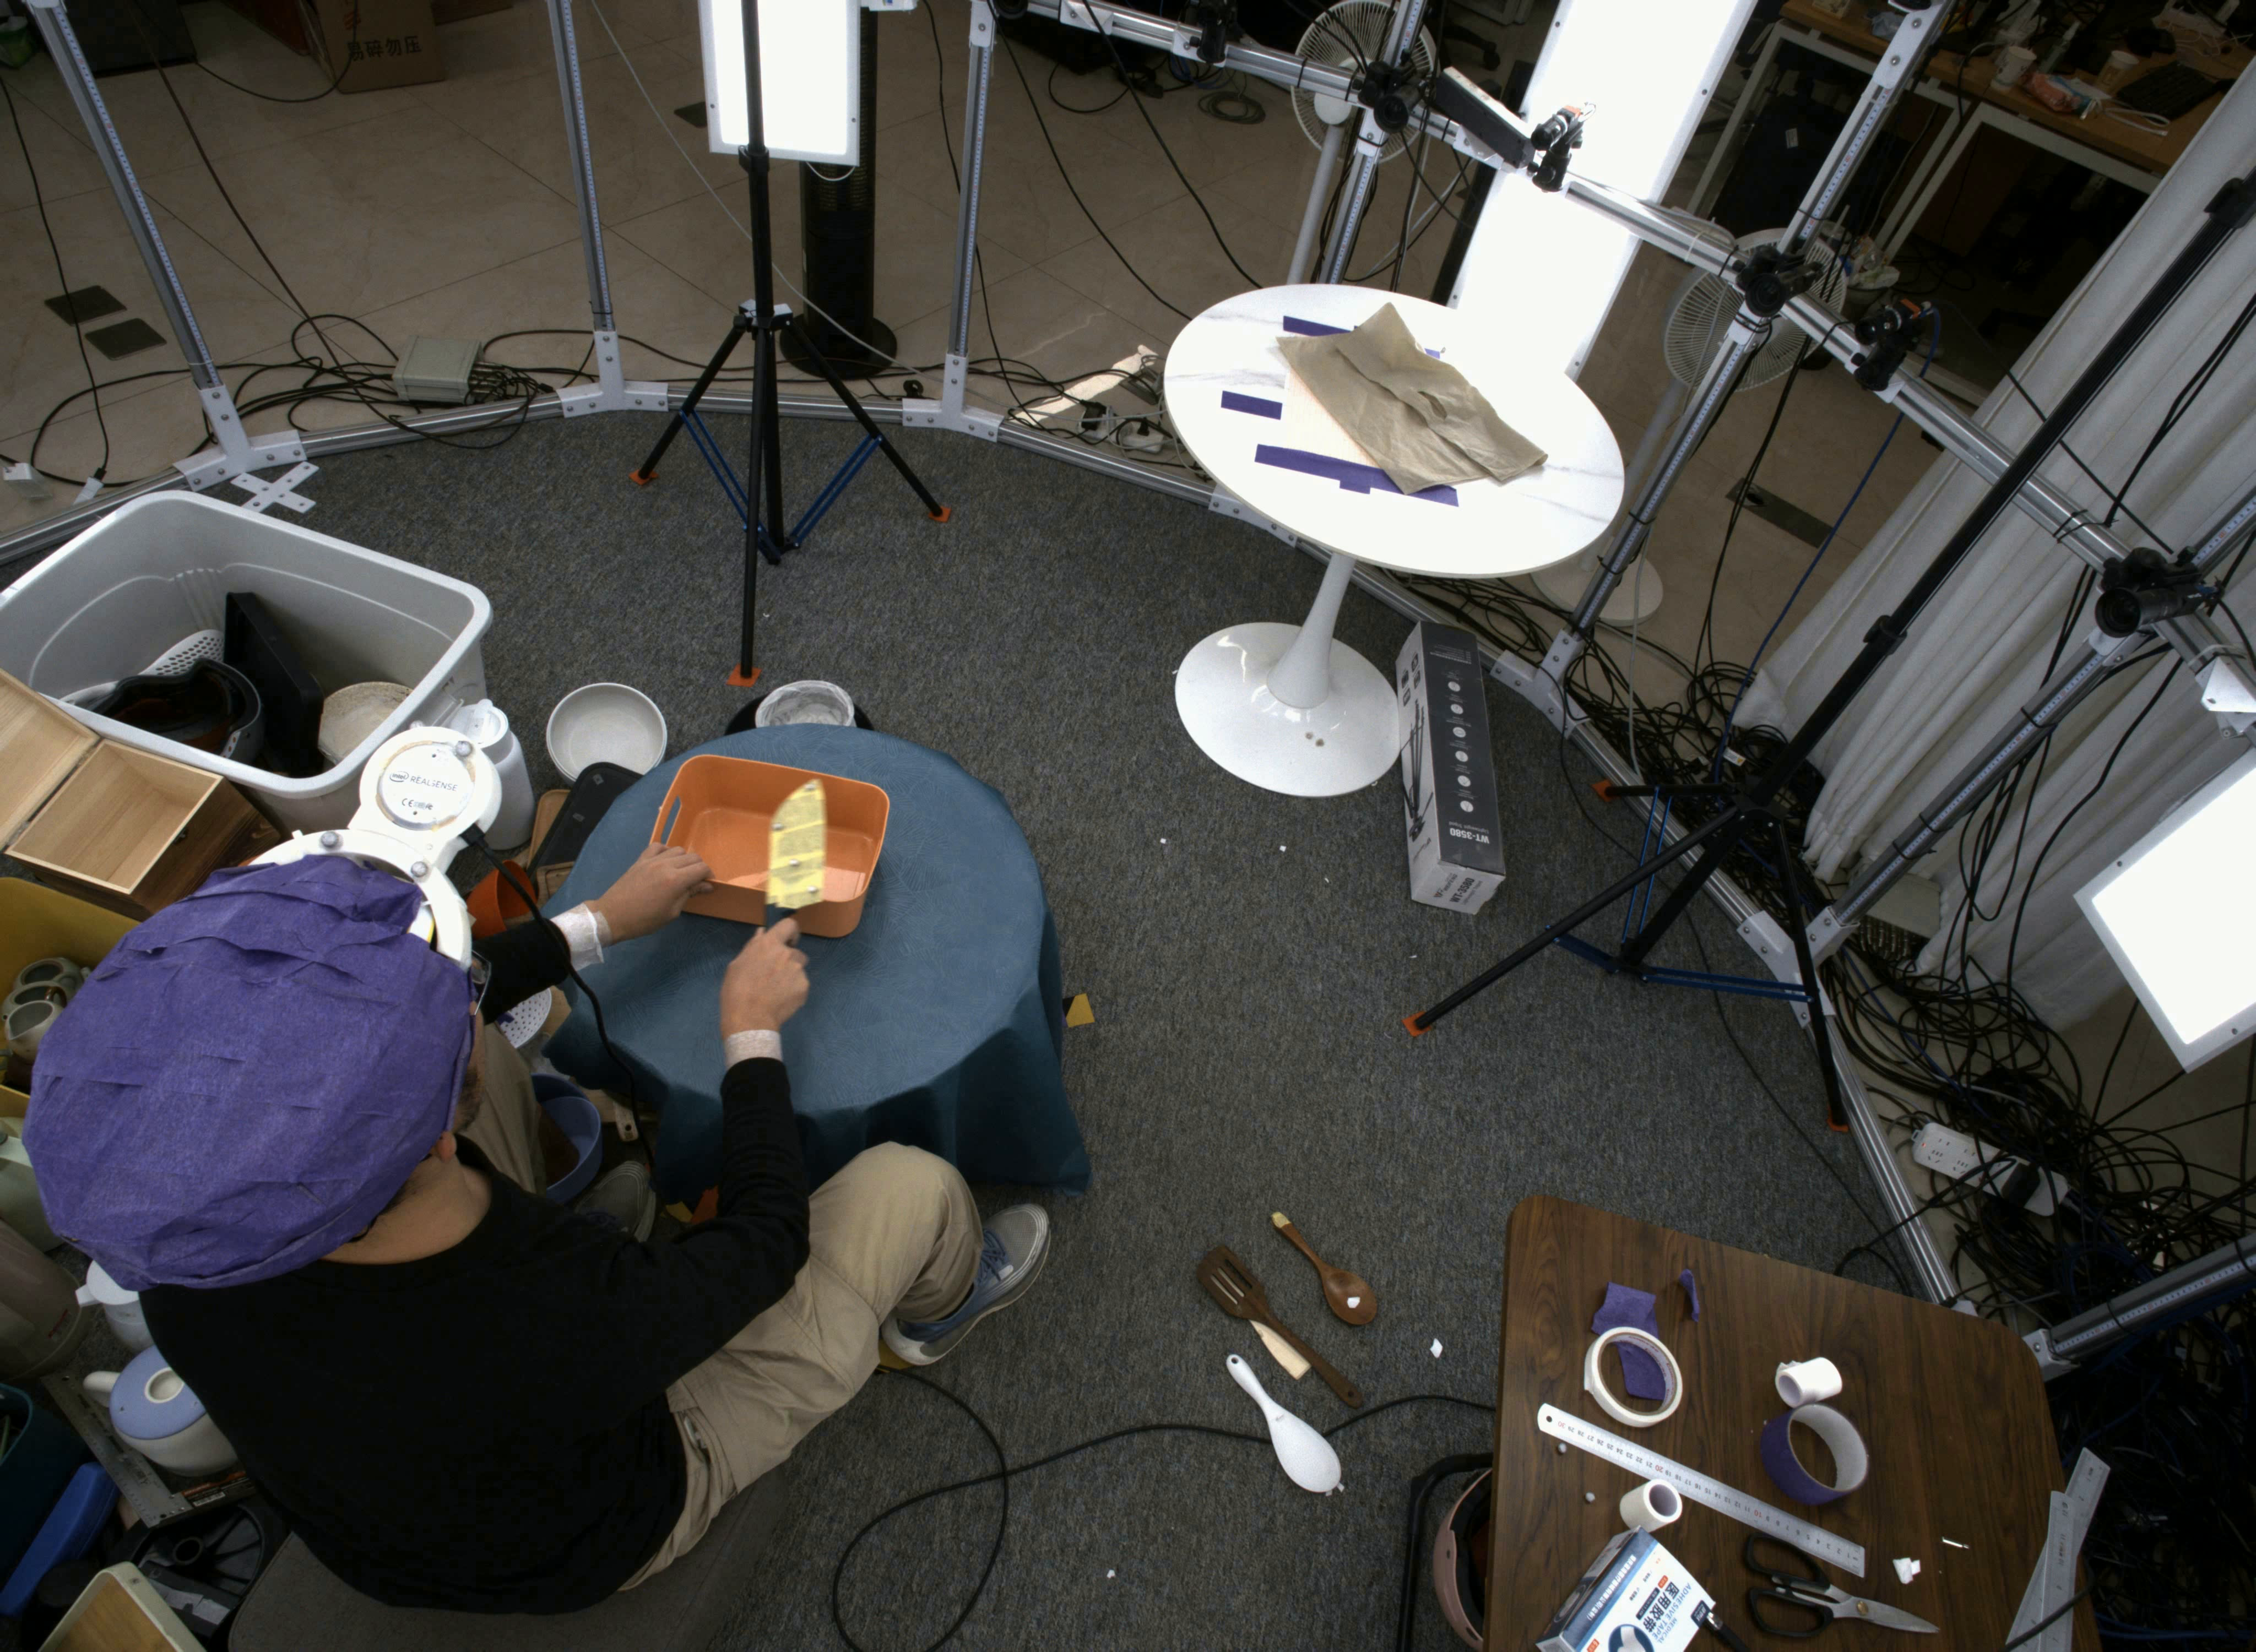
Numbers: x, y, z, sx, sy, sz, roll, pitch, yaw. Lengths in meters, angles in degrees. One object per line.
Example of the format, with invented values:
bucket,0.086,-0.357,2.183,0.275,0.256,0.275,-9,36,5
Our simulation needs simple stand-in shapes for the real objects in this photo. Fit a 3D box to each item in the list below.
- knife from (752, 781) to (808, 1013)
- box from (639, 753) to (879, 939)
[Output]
knife,-0.402,0.073,1.488,0.079,0.028,0.285,-14,63,16
box,-0.456,0.029,1.621,0.272,0.104,0.196,10,51,-7
